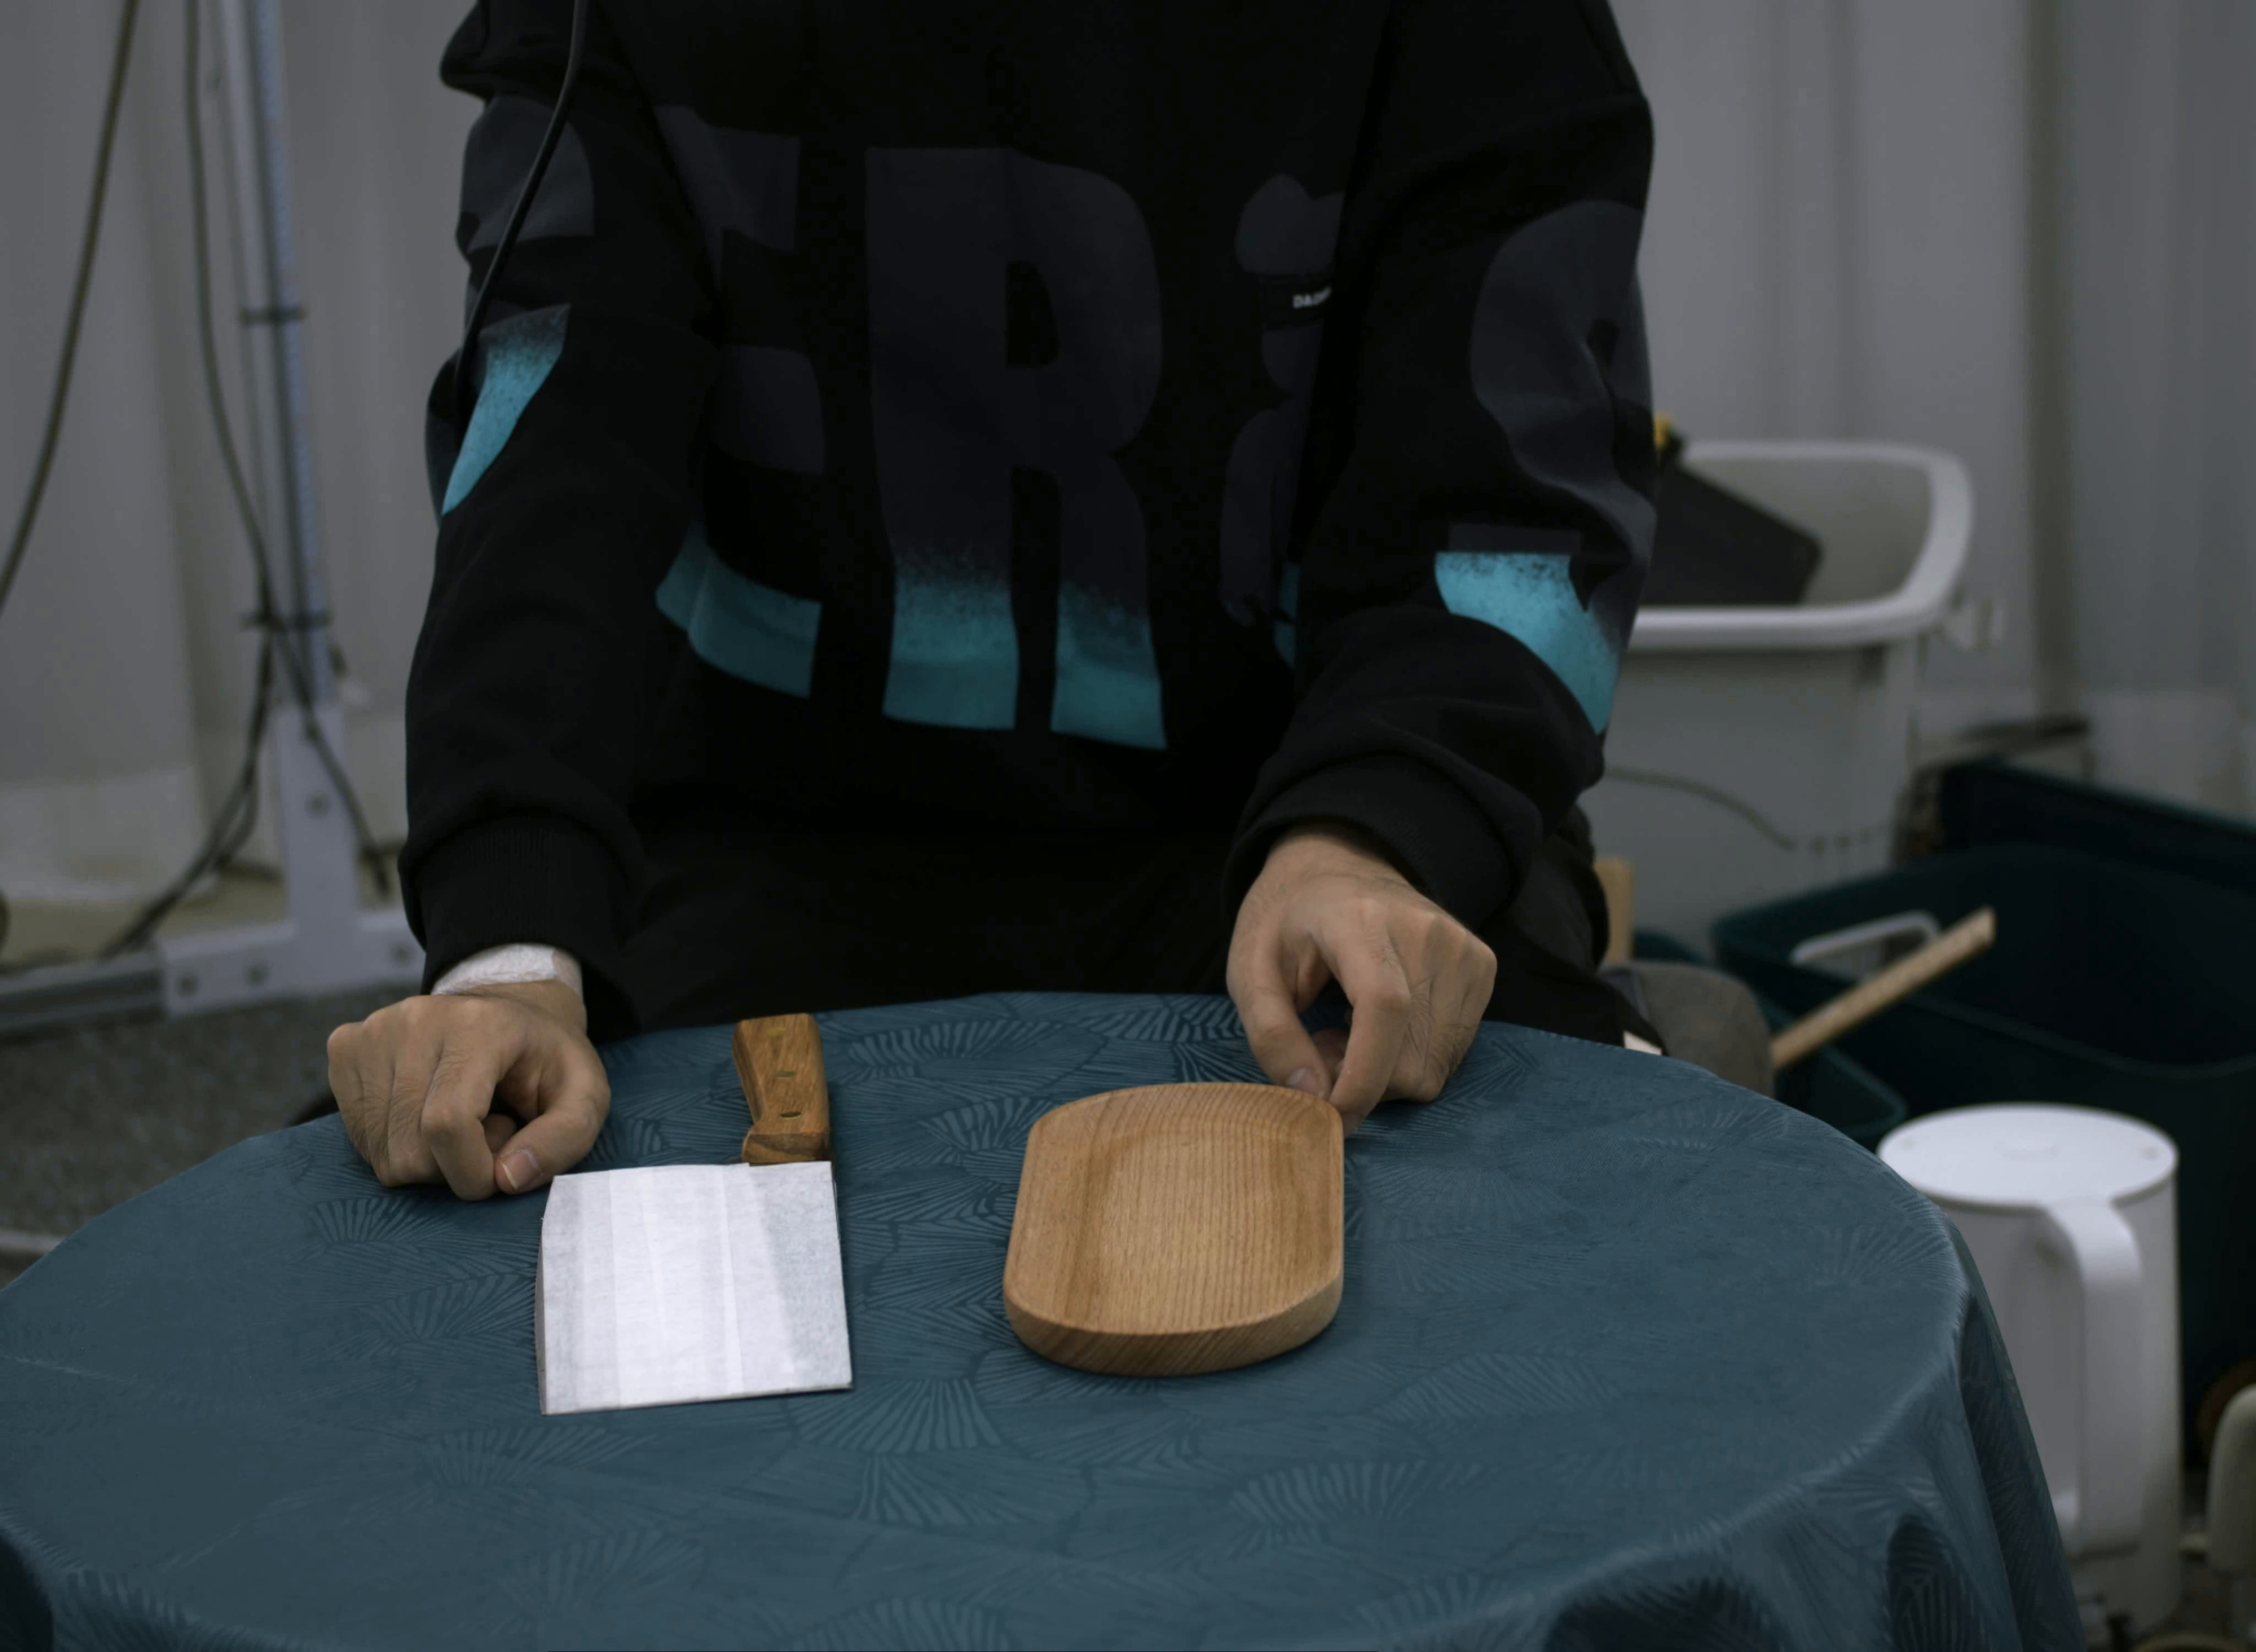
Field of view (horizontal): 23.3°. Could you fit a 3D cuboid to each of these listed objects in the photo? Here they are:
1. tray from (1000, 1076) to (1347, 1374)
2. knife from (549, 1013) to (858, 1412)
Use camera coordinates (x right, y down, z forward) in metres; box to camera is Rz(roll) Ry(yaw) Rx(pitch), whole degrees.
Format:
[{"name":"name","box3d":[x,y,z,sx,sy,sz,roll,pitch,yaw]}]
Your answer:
[{"name":"tray","box3d":[0.016,0.119,1.664,0.101,0.020,0.232,-2,14,3]},{"name":"knife","box3d":[-0.133,0.119,1.698,0.092,0.021,0.308,-5,17,-3]}]
